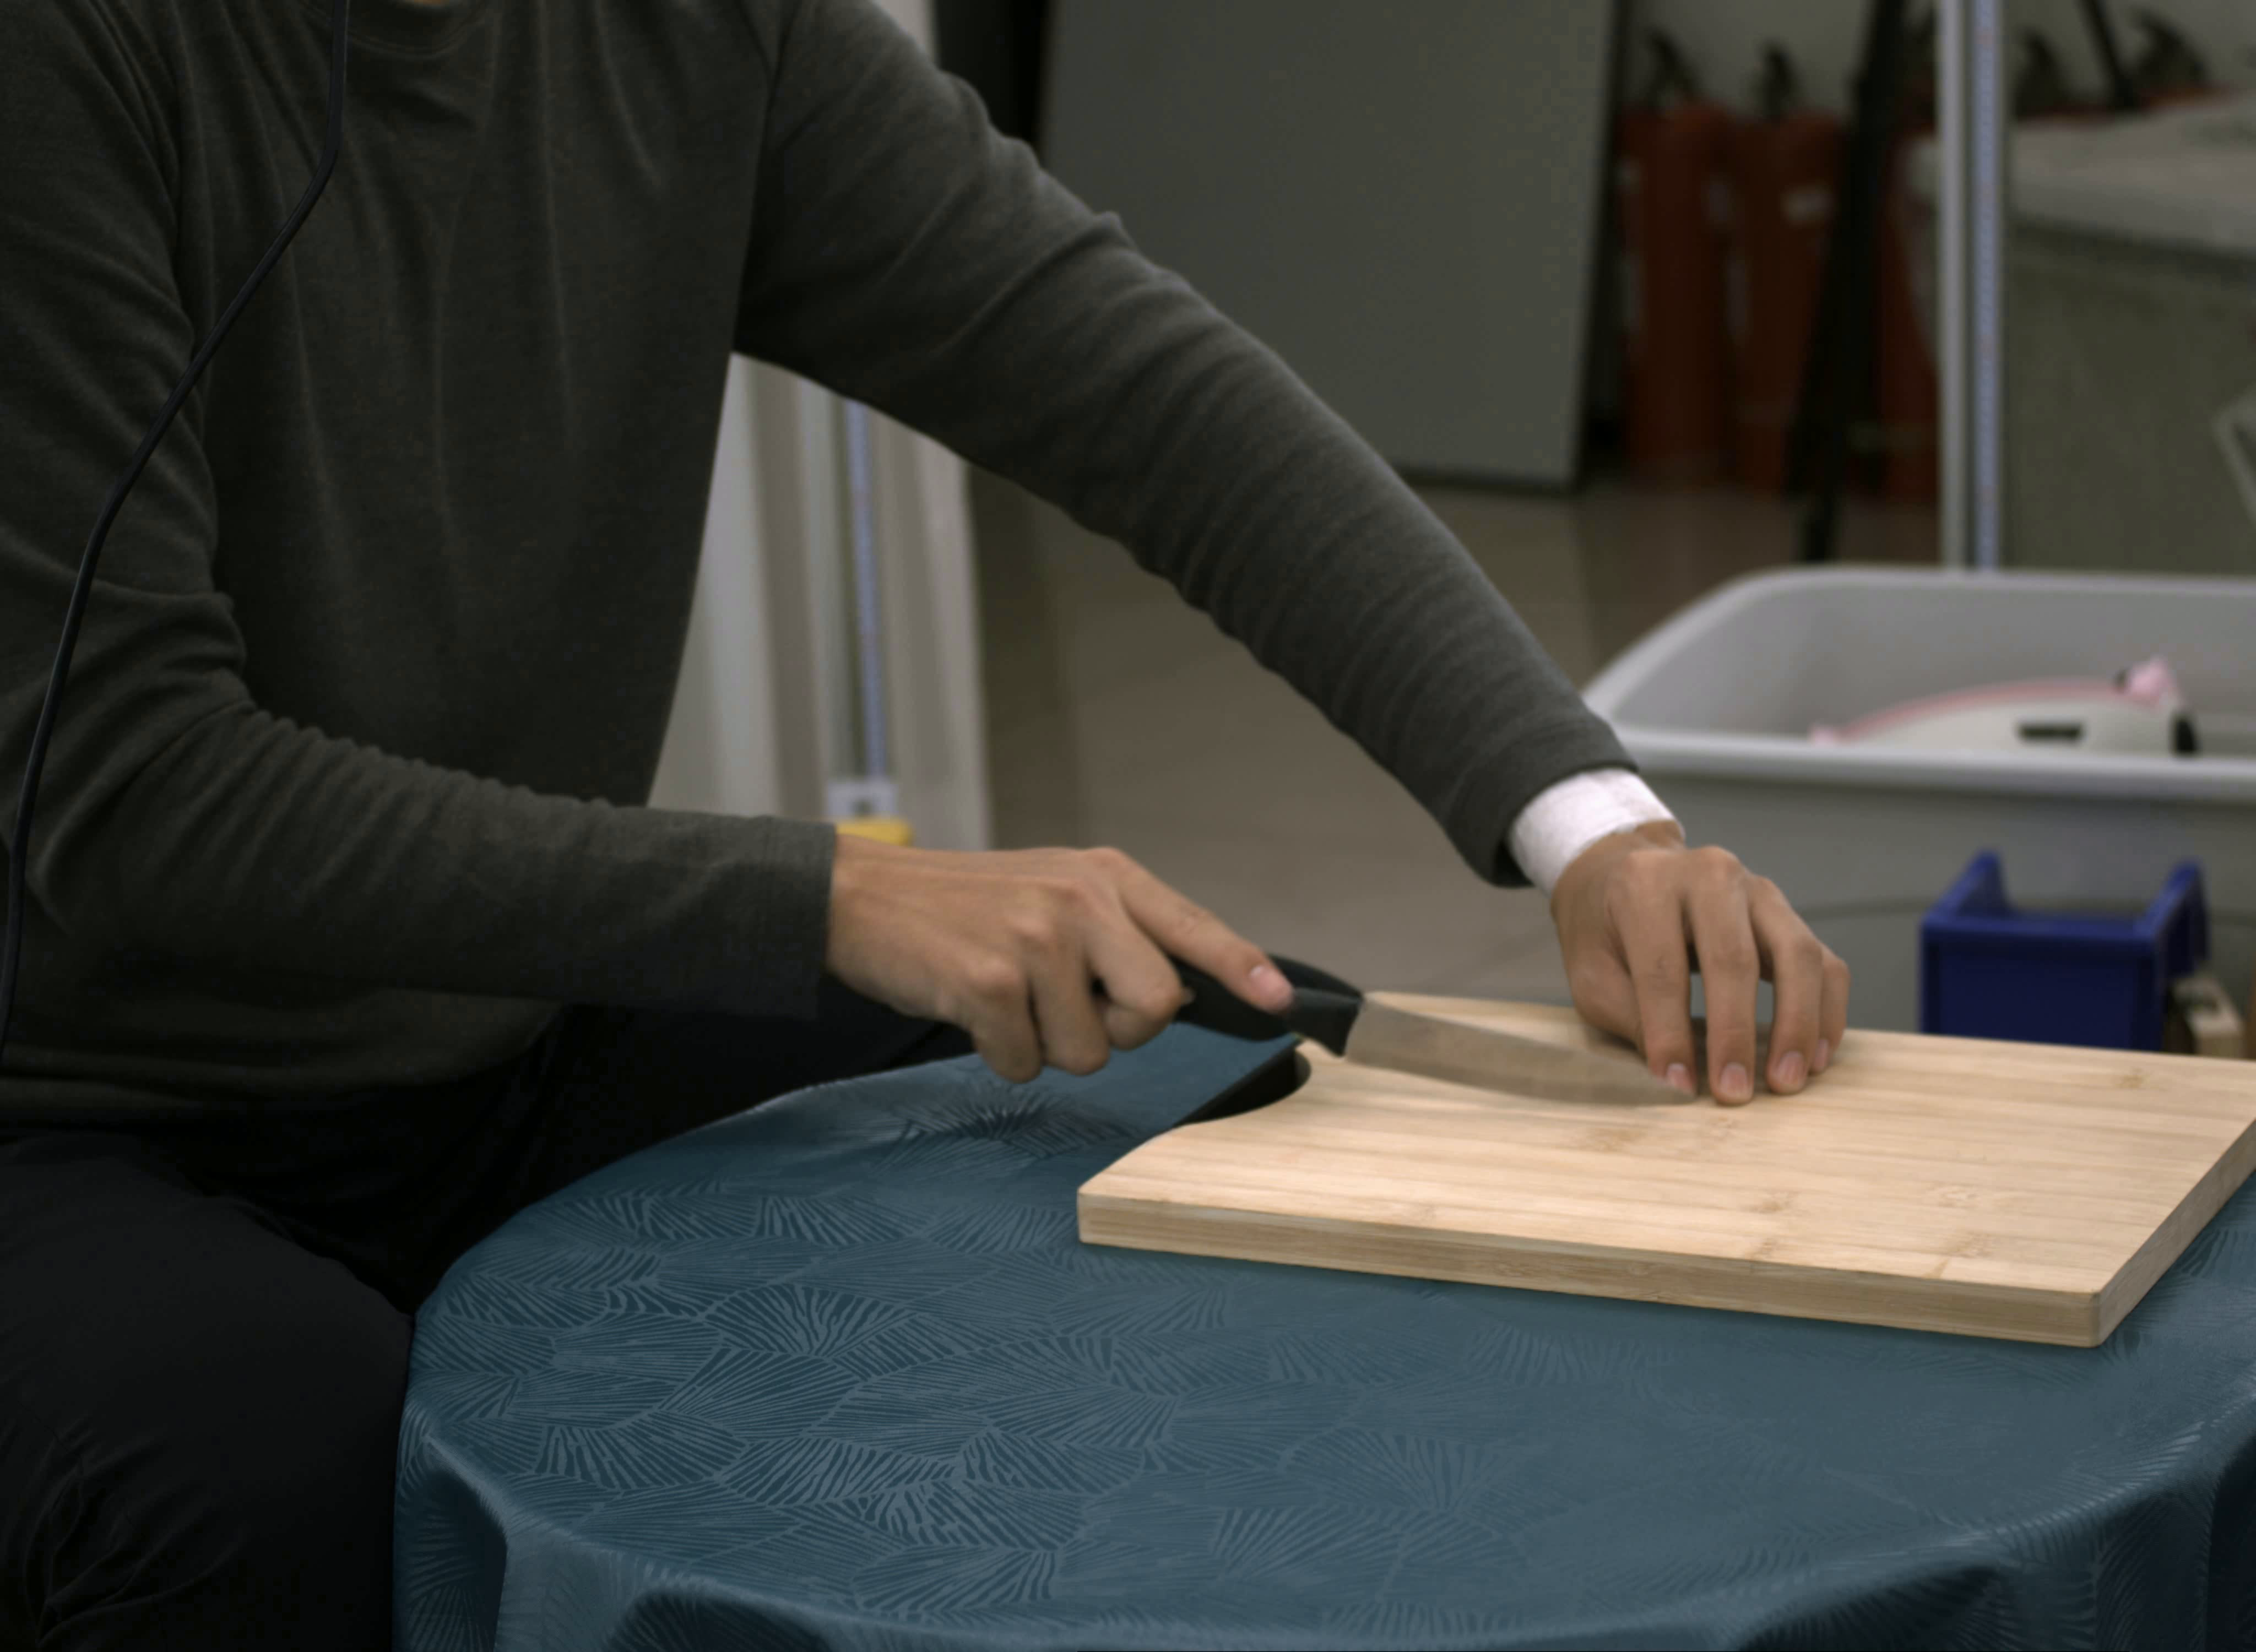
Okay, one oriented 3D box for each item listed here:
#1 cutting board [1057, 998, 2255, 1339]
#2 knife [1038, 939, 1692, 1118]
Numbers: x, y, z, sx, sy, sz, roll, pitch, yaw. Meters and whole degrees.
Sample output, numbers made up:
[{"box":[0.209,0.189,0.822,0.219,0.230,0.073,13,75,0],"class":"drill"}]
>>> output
[{"box":[0.181,0.107,1.748,0.349,0.024,0.247,3,15,27],"class":"cutting board"},{"box":[0.078,0.069,1.789,0.238,0.025,0.016,13,13,24],"class":"knife"}]
